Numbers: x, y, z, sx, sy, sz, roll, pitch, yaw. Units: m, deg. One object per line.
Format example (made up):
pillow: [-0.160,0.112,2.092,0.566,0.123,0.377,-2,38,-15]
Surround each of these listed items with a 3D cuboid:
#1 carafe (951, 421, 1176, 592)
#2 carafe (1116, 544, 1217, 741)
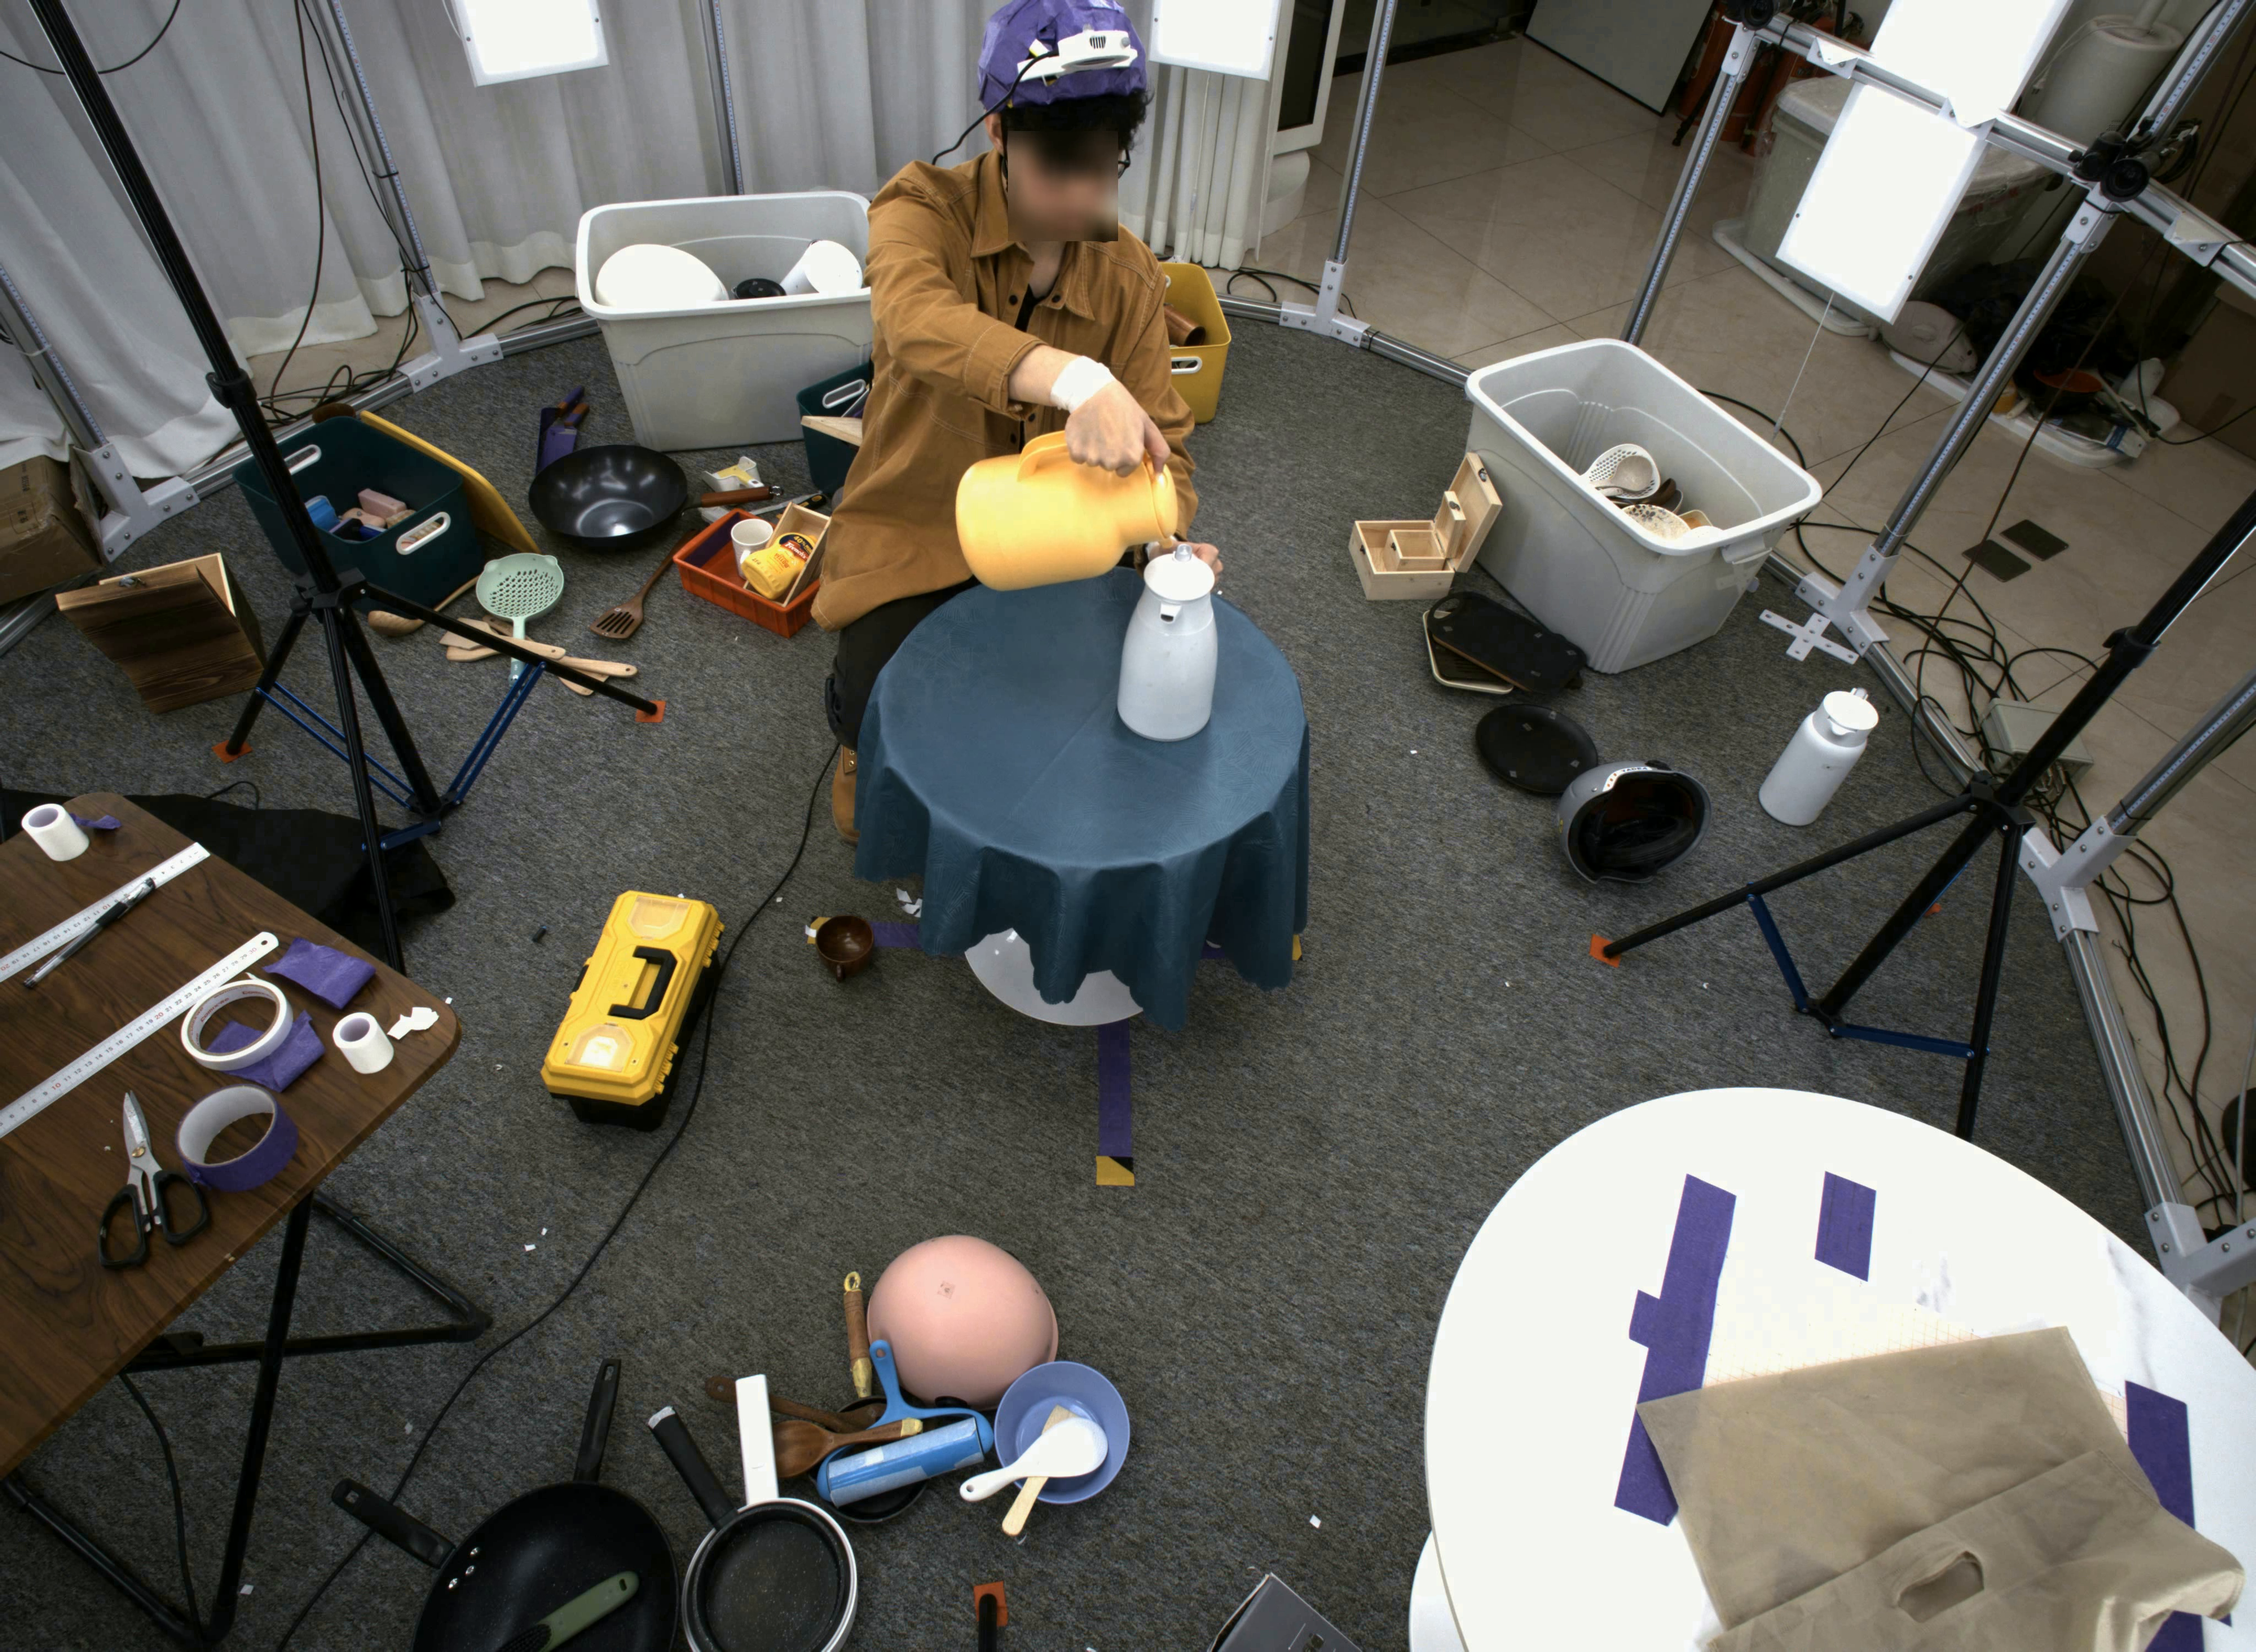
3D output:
carafe: [-0.078,-0.391,1.548,0.260,0.197,0.167,-7,54,13]
carafe: [0.060,-0.260,1.738,0.133,0.242,0.171,12,49,6]
